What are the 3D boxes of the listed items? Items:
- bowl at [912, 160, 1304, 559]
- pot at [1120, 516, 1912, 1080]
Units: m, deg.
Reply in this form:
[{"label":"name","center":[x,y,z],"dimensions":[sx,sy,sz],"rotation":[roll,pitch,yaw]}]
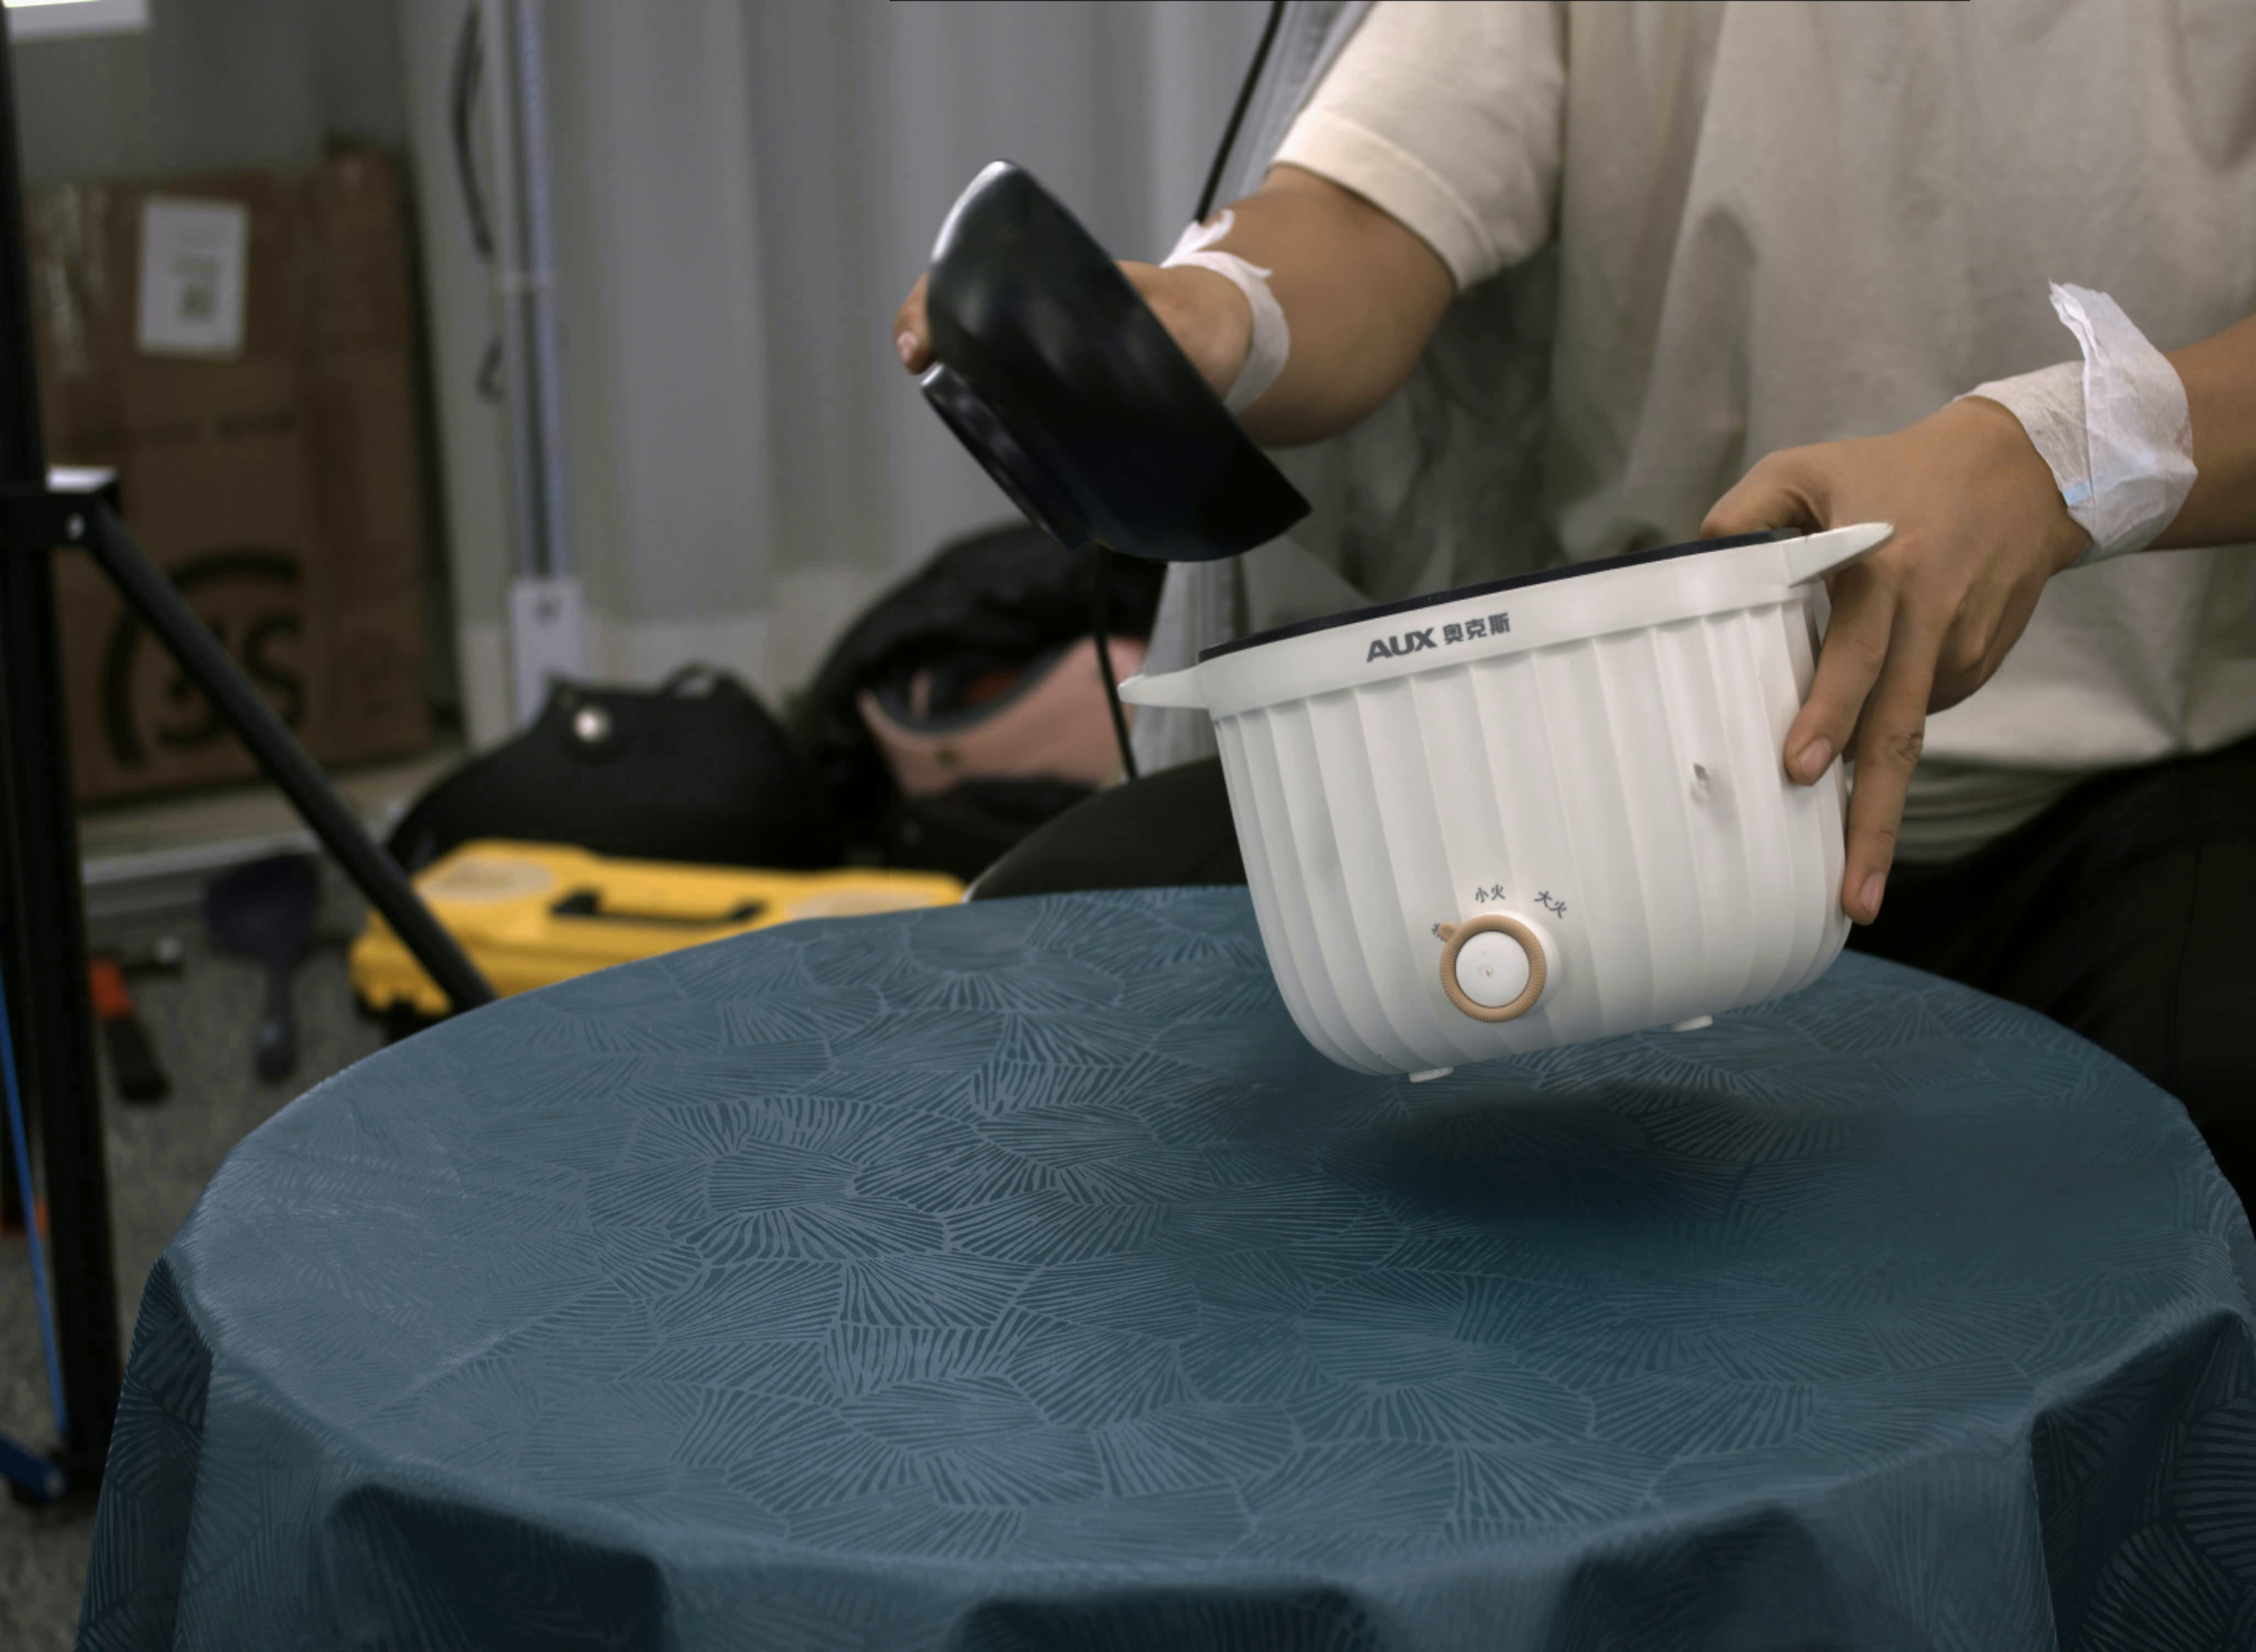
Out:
[{"label":"bowl","center":[-0.021,-0.128,1.595],"dimensions":[0.066,0.135,0.173],"rotation":[-42,25,-3]},{"label":"pot","center":[0.123,-0.004,1.550],"dimensions":[0.242,0.143,0.187],"rotation":[-13,-5,18]}]
